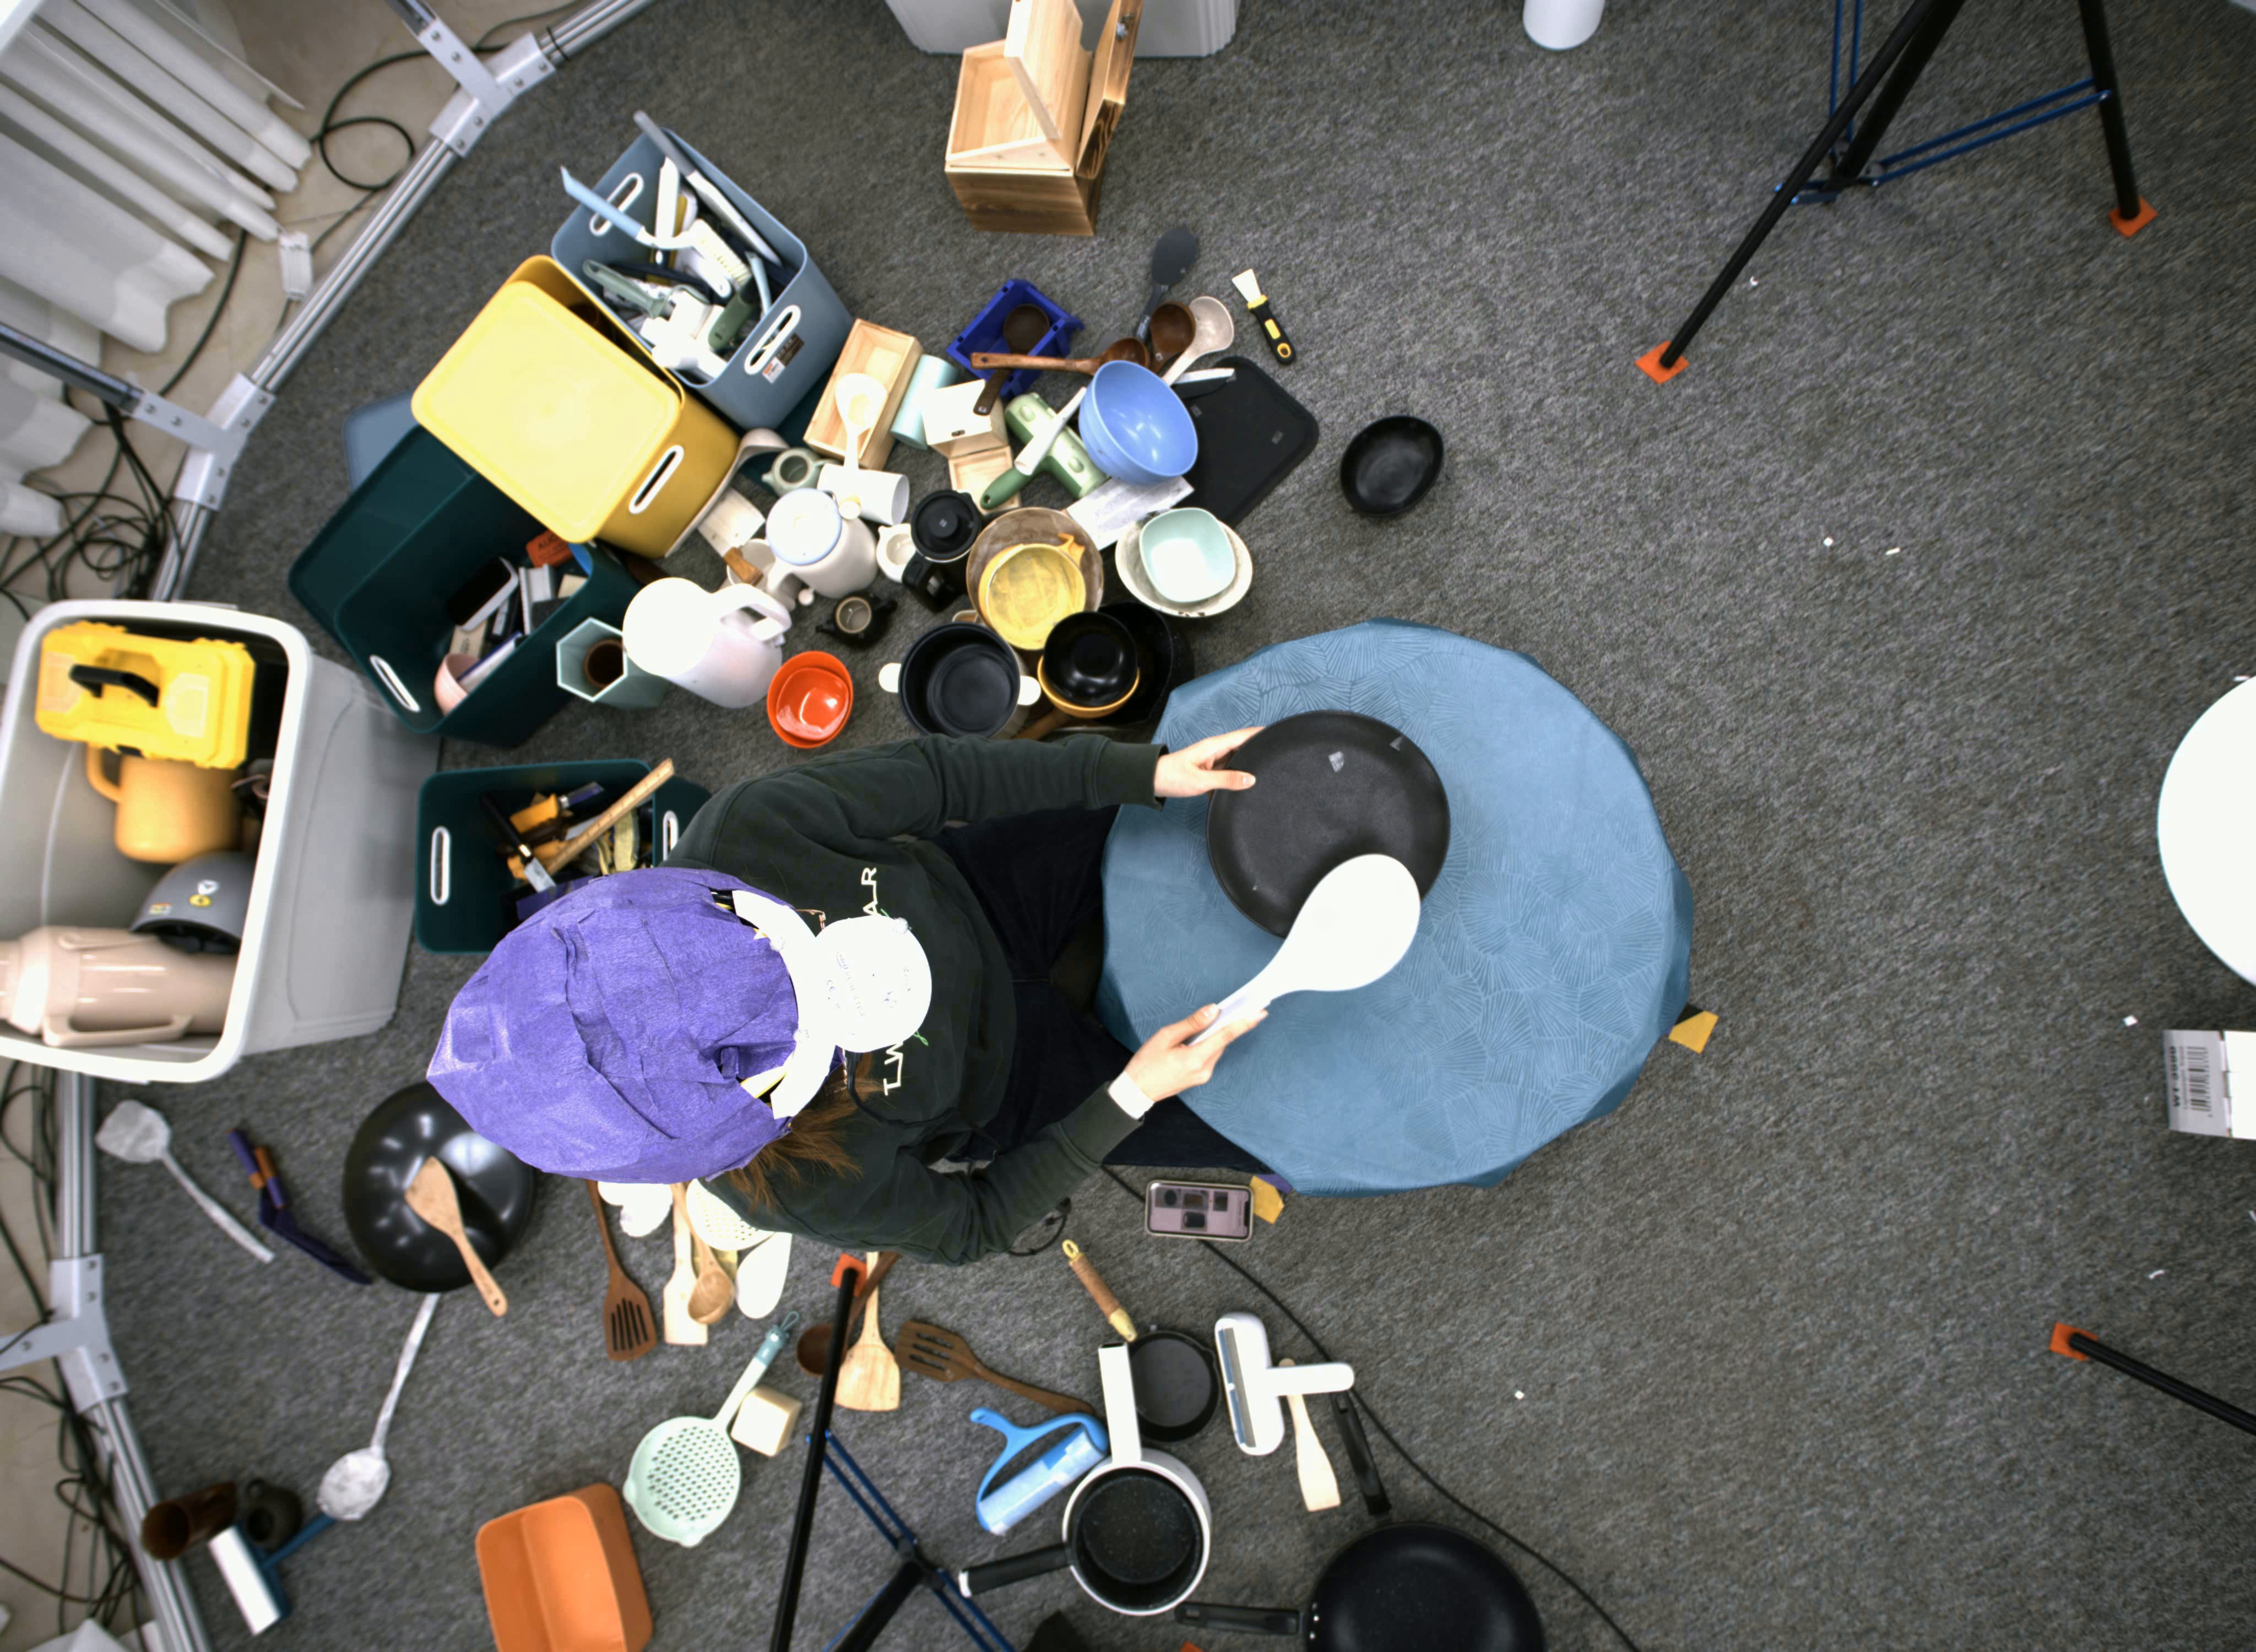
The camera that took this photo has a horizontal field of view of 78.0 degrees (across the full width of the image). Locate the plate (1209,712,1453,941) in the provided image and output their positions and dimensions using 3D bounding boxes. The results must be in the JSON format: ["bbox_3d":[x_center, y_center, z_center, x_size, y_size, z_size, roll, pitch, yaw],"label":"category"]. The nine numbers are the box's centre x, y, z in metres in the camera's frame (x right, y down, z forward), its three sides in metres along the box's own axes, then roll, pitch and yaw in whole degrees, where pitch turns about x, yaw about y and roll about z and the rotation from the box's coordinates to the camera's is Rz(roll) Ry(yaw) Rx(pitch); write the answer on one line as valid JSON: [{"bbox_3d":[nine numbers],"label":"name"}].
[{"bbox_3d":[0.203,0.003,1.390,0.245,0.023,0.247,1,107,3],"label":"plate"}]

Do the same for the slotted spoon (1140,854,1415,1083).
[{"bbox_3d":[0.143,0.153,1.367,0.355,0.046,0.132,-36,38,20],"label":"slotted spoon"}]
